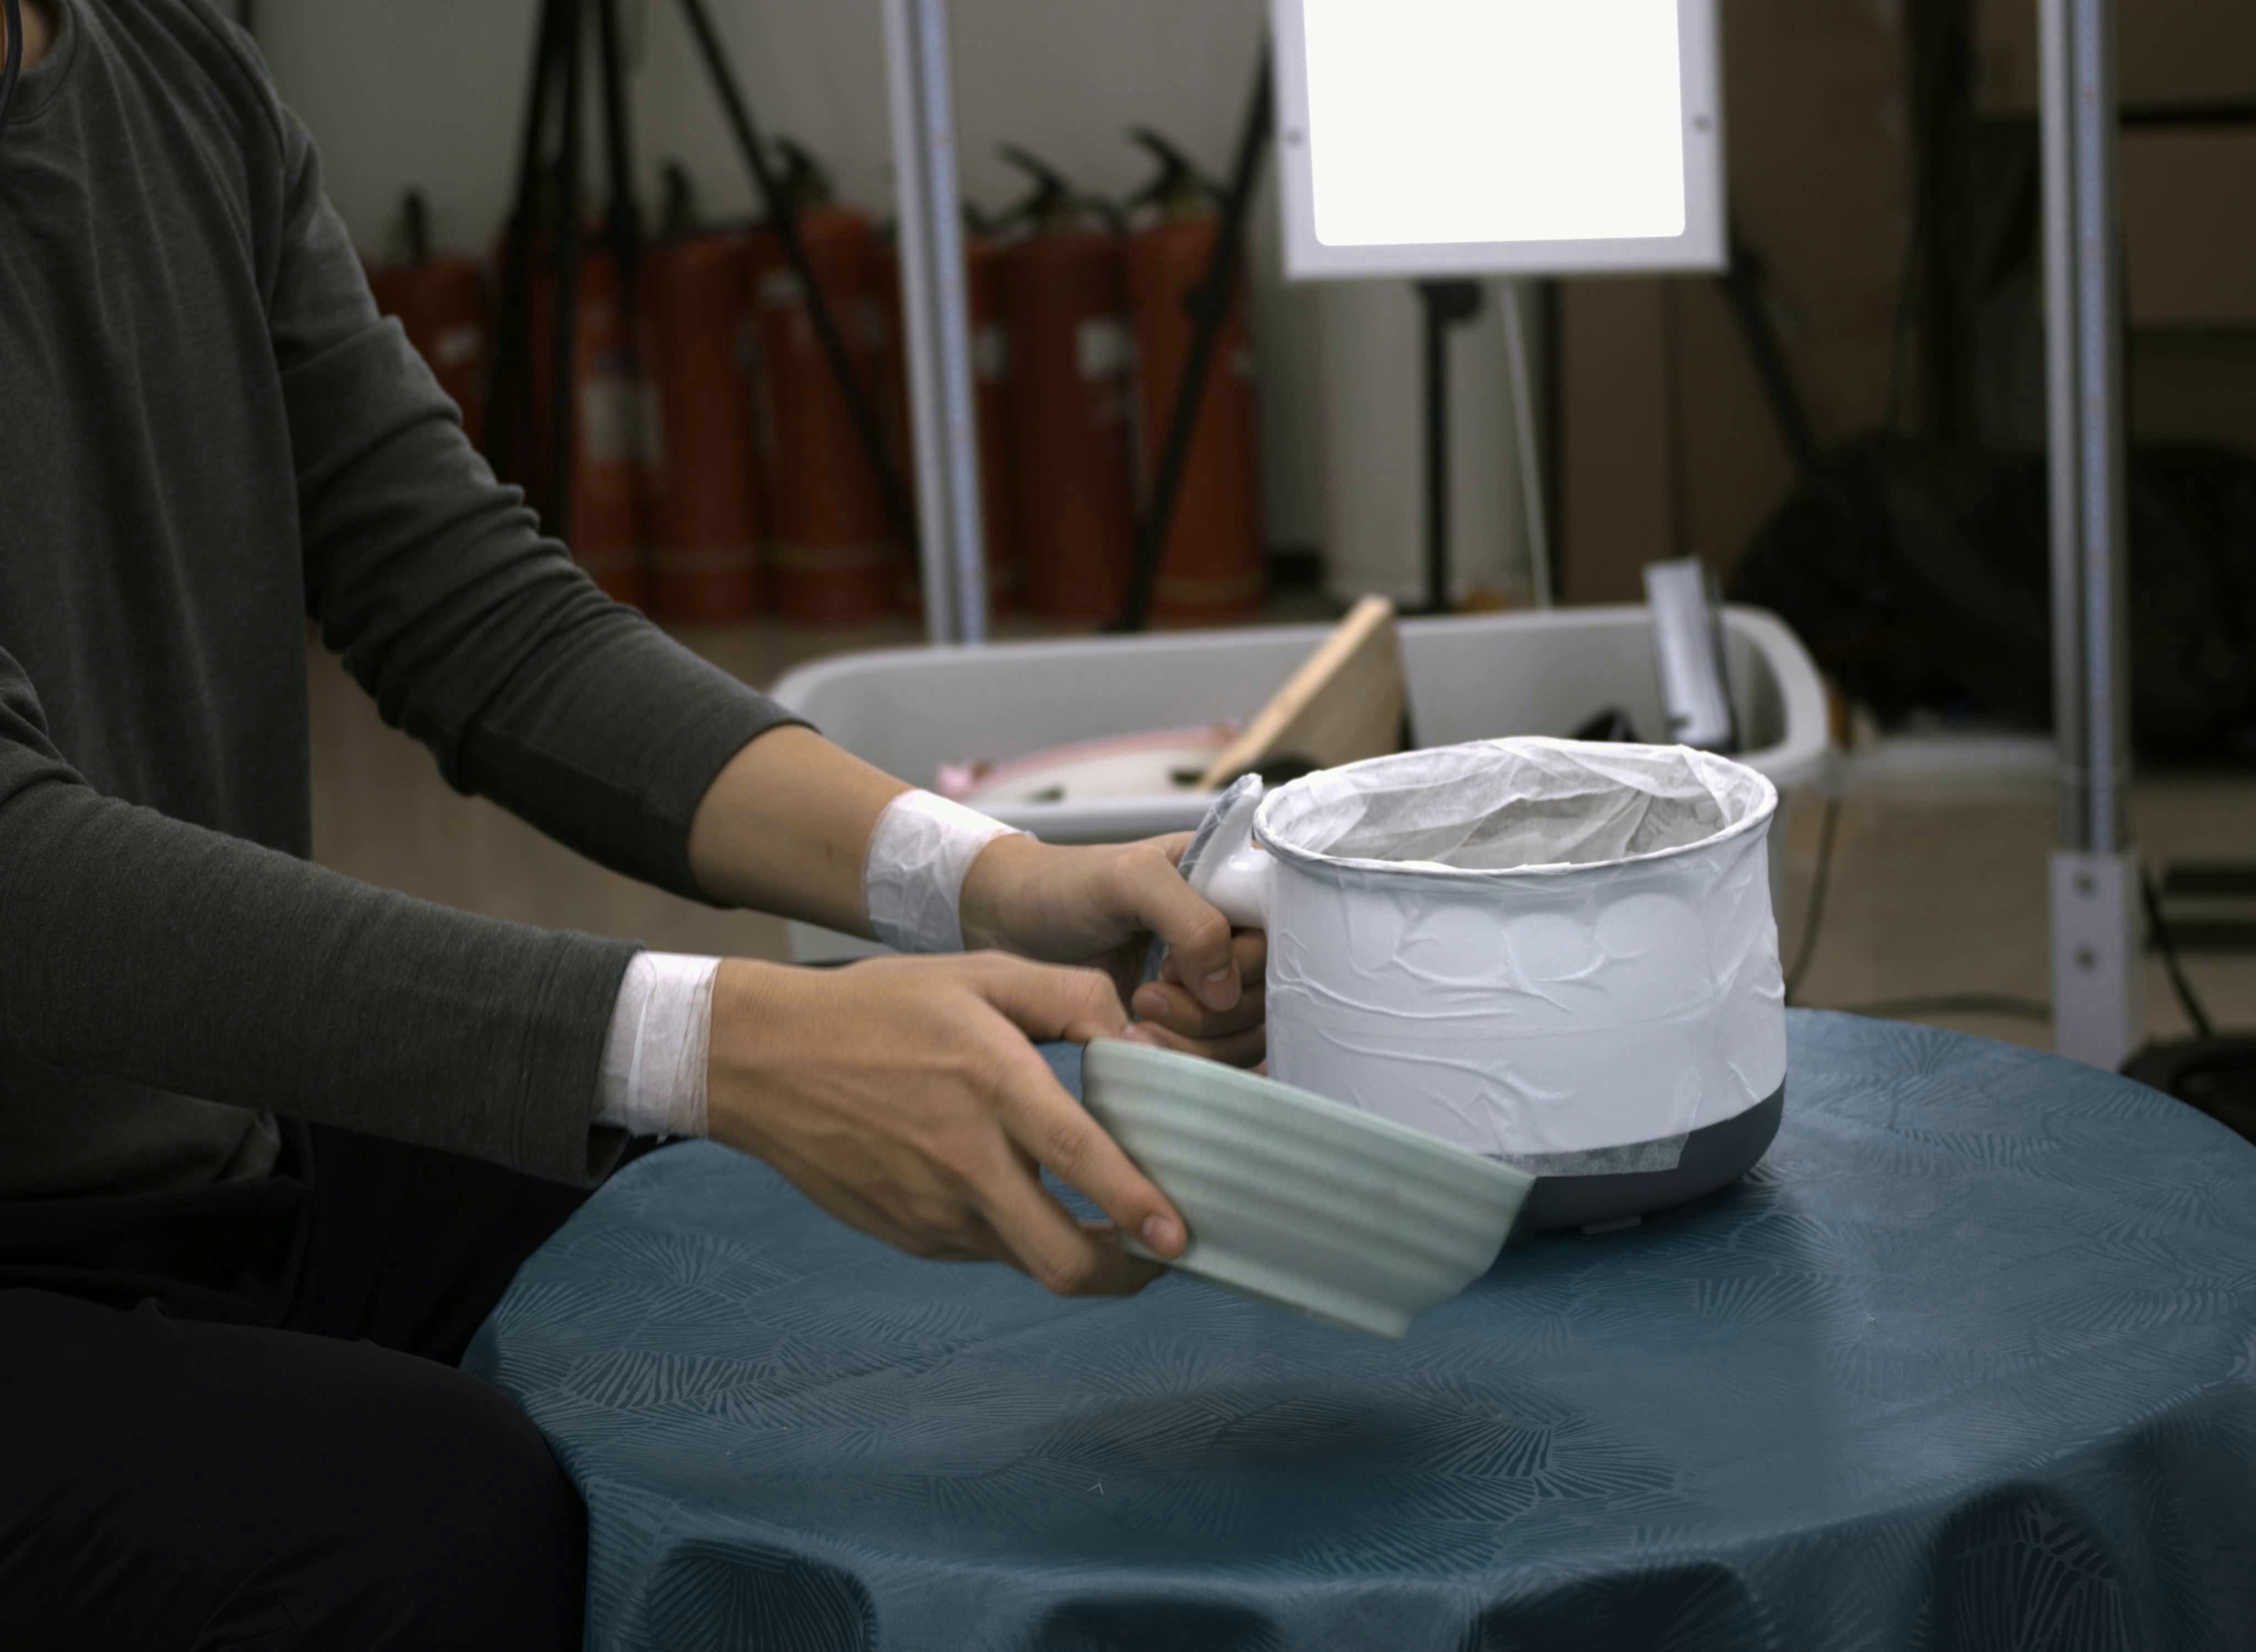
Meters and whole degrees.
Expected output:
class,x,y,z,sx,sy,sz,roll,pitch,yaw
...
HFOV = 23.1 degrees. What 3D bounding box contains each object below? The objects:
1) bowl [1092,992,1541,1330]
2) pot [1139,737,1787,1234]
class,x,y,z,sx,sy,sz,roll,pitch,yaw
bowl,0.046,0.104,1.633,0.151,0.059,0.151,24,-2,-1
pot,0.110,0.051,1.875,0.237,0.137,0.175,3,16,26
